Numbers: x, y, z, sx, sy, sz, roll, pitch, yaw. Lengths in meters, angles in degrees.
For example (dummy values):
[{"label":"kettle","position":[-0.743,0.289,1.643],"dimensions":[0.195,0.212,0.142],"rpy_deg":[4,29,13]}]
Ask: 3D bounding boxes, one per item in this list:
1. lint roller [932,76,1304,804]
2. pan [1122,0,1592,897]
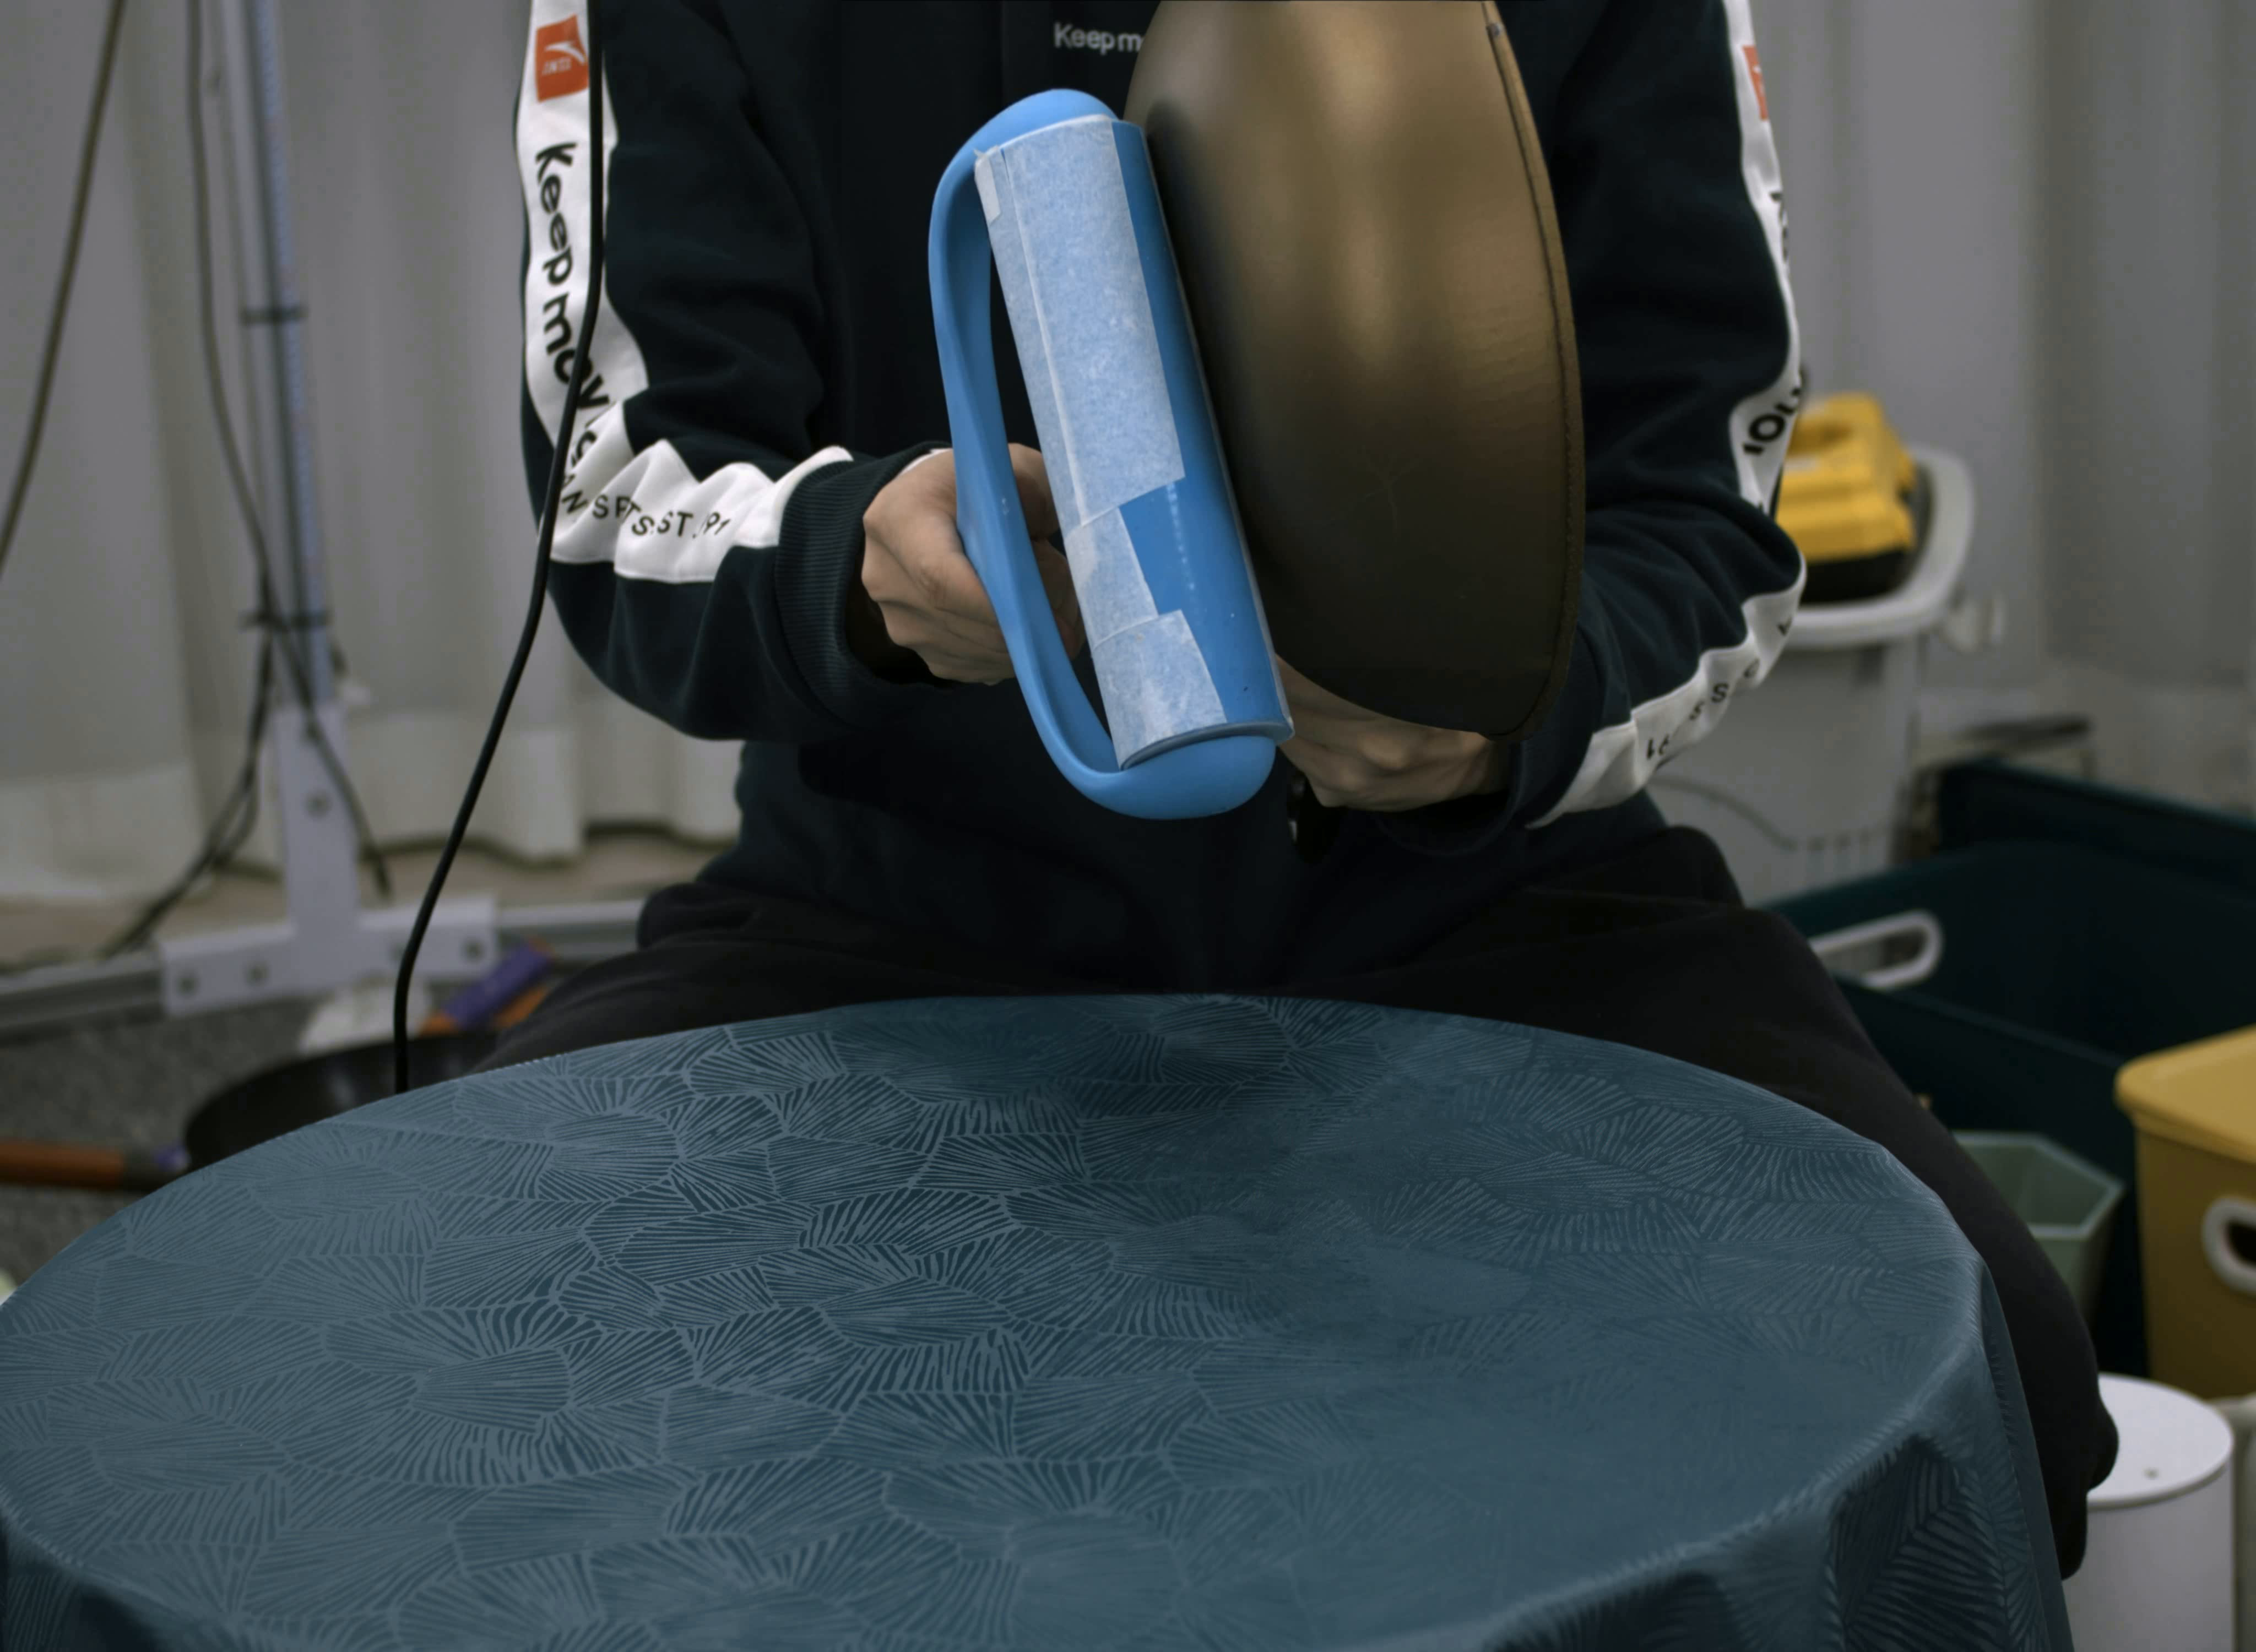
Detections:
[{"label":"lint roller","position":[-0.018,-0.097,1.690],"dimensions":[0.067,0.231,0.179],"rpy_deg":[-10,-17,-24]},{"label":"pan","position":[0.047,-0.110,1.755],"dimensions":[0.086,0.458,0.292],"rpy_deg":[-10,58,-13]}]
